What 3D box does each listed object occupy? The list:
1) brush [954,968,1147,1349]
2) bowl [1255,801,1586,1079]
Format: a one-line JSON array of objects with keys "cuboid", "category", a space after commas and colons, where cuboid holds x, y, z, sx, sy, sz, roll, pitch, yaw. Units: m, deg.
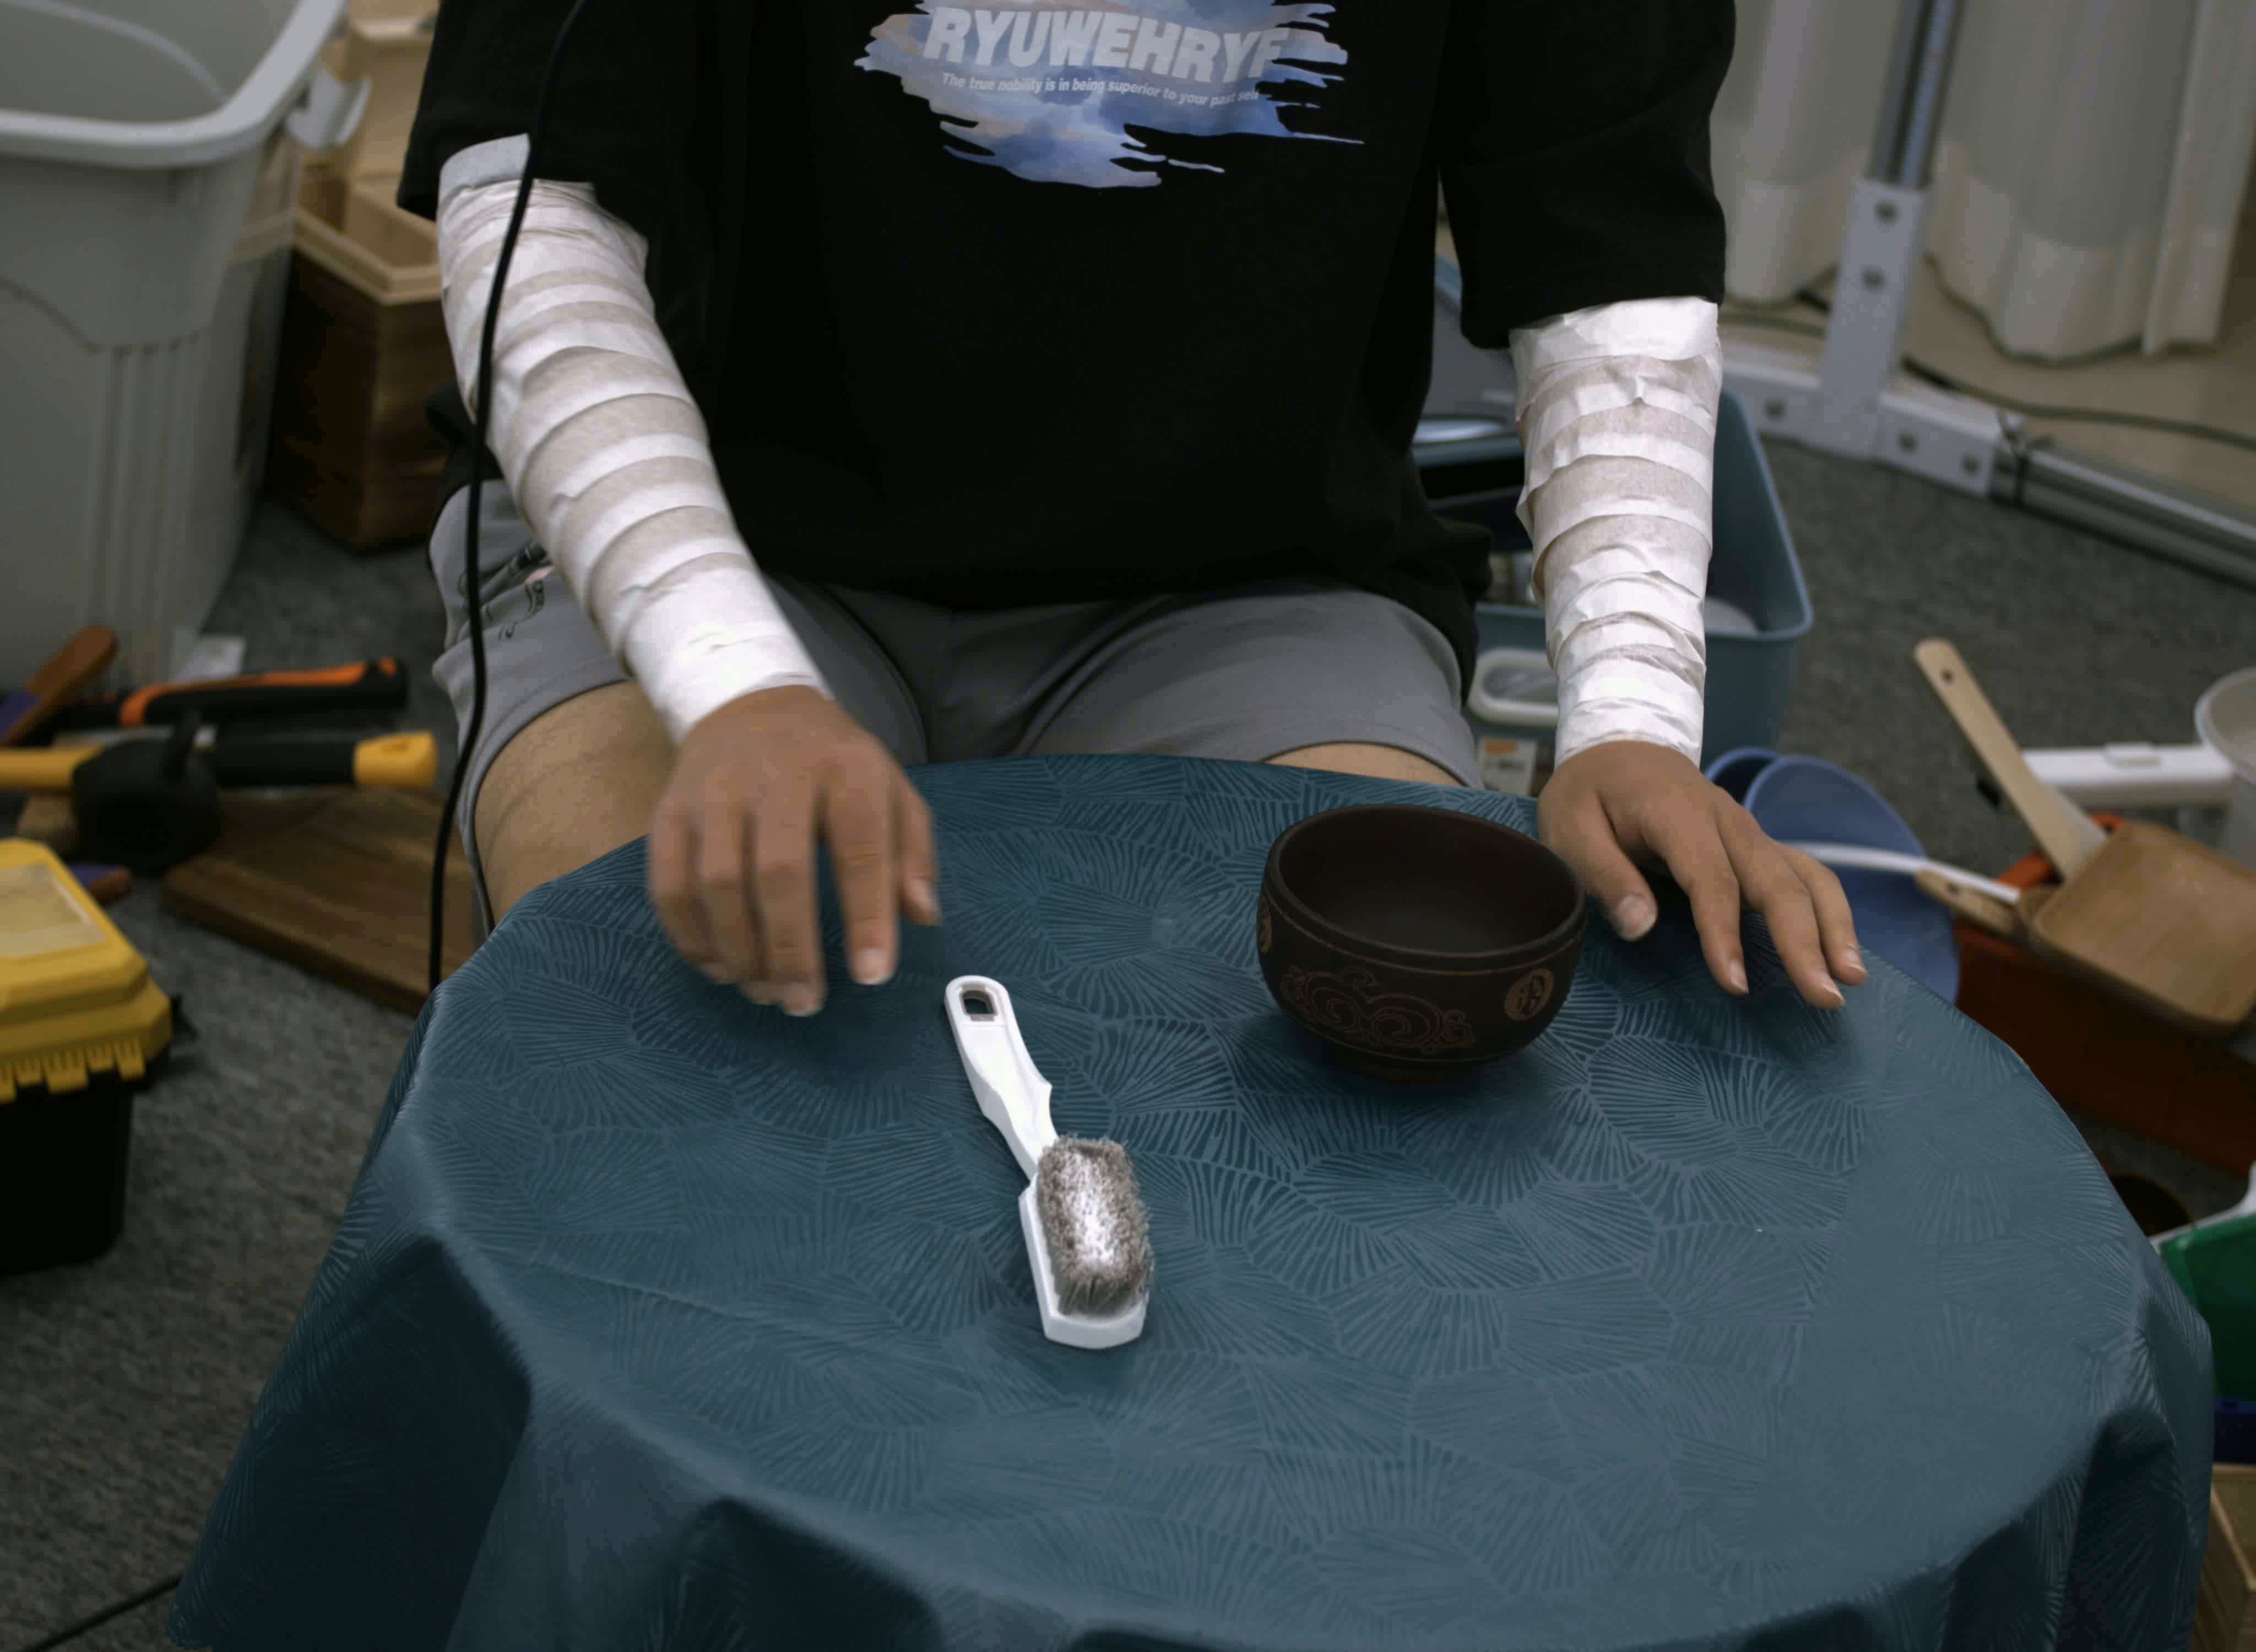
[{"cuboid": [-0.029, 0.095, 1.798, 0.034, 0.050, 0.245, 2, 28, -12], "category": "brush"}, {"cuboid": [0.102, 0.047, 1.899, 0.117, 0.069, 0.119, 4, 25, -2], "category": "bowl"}]
